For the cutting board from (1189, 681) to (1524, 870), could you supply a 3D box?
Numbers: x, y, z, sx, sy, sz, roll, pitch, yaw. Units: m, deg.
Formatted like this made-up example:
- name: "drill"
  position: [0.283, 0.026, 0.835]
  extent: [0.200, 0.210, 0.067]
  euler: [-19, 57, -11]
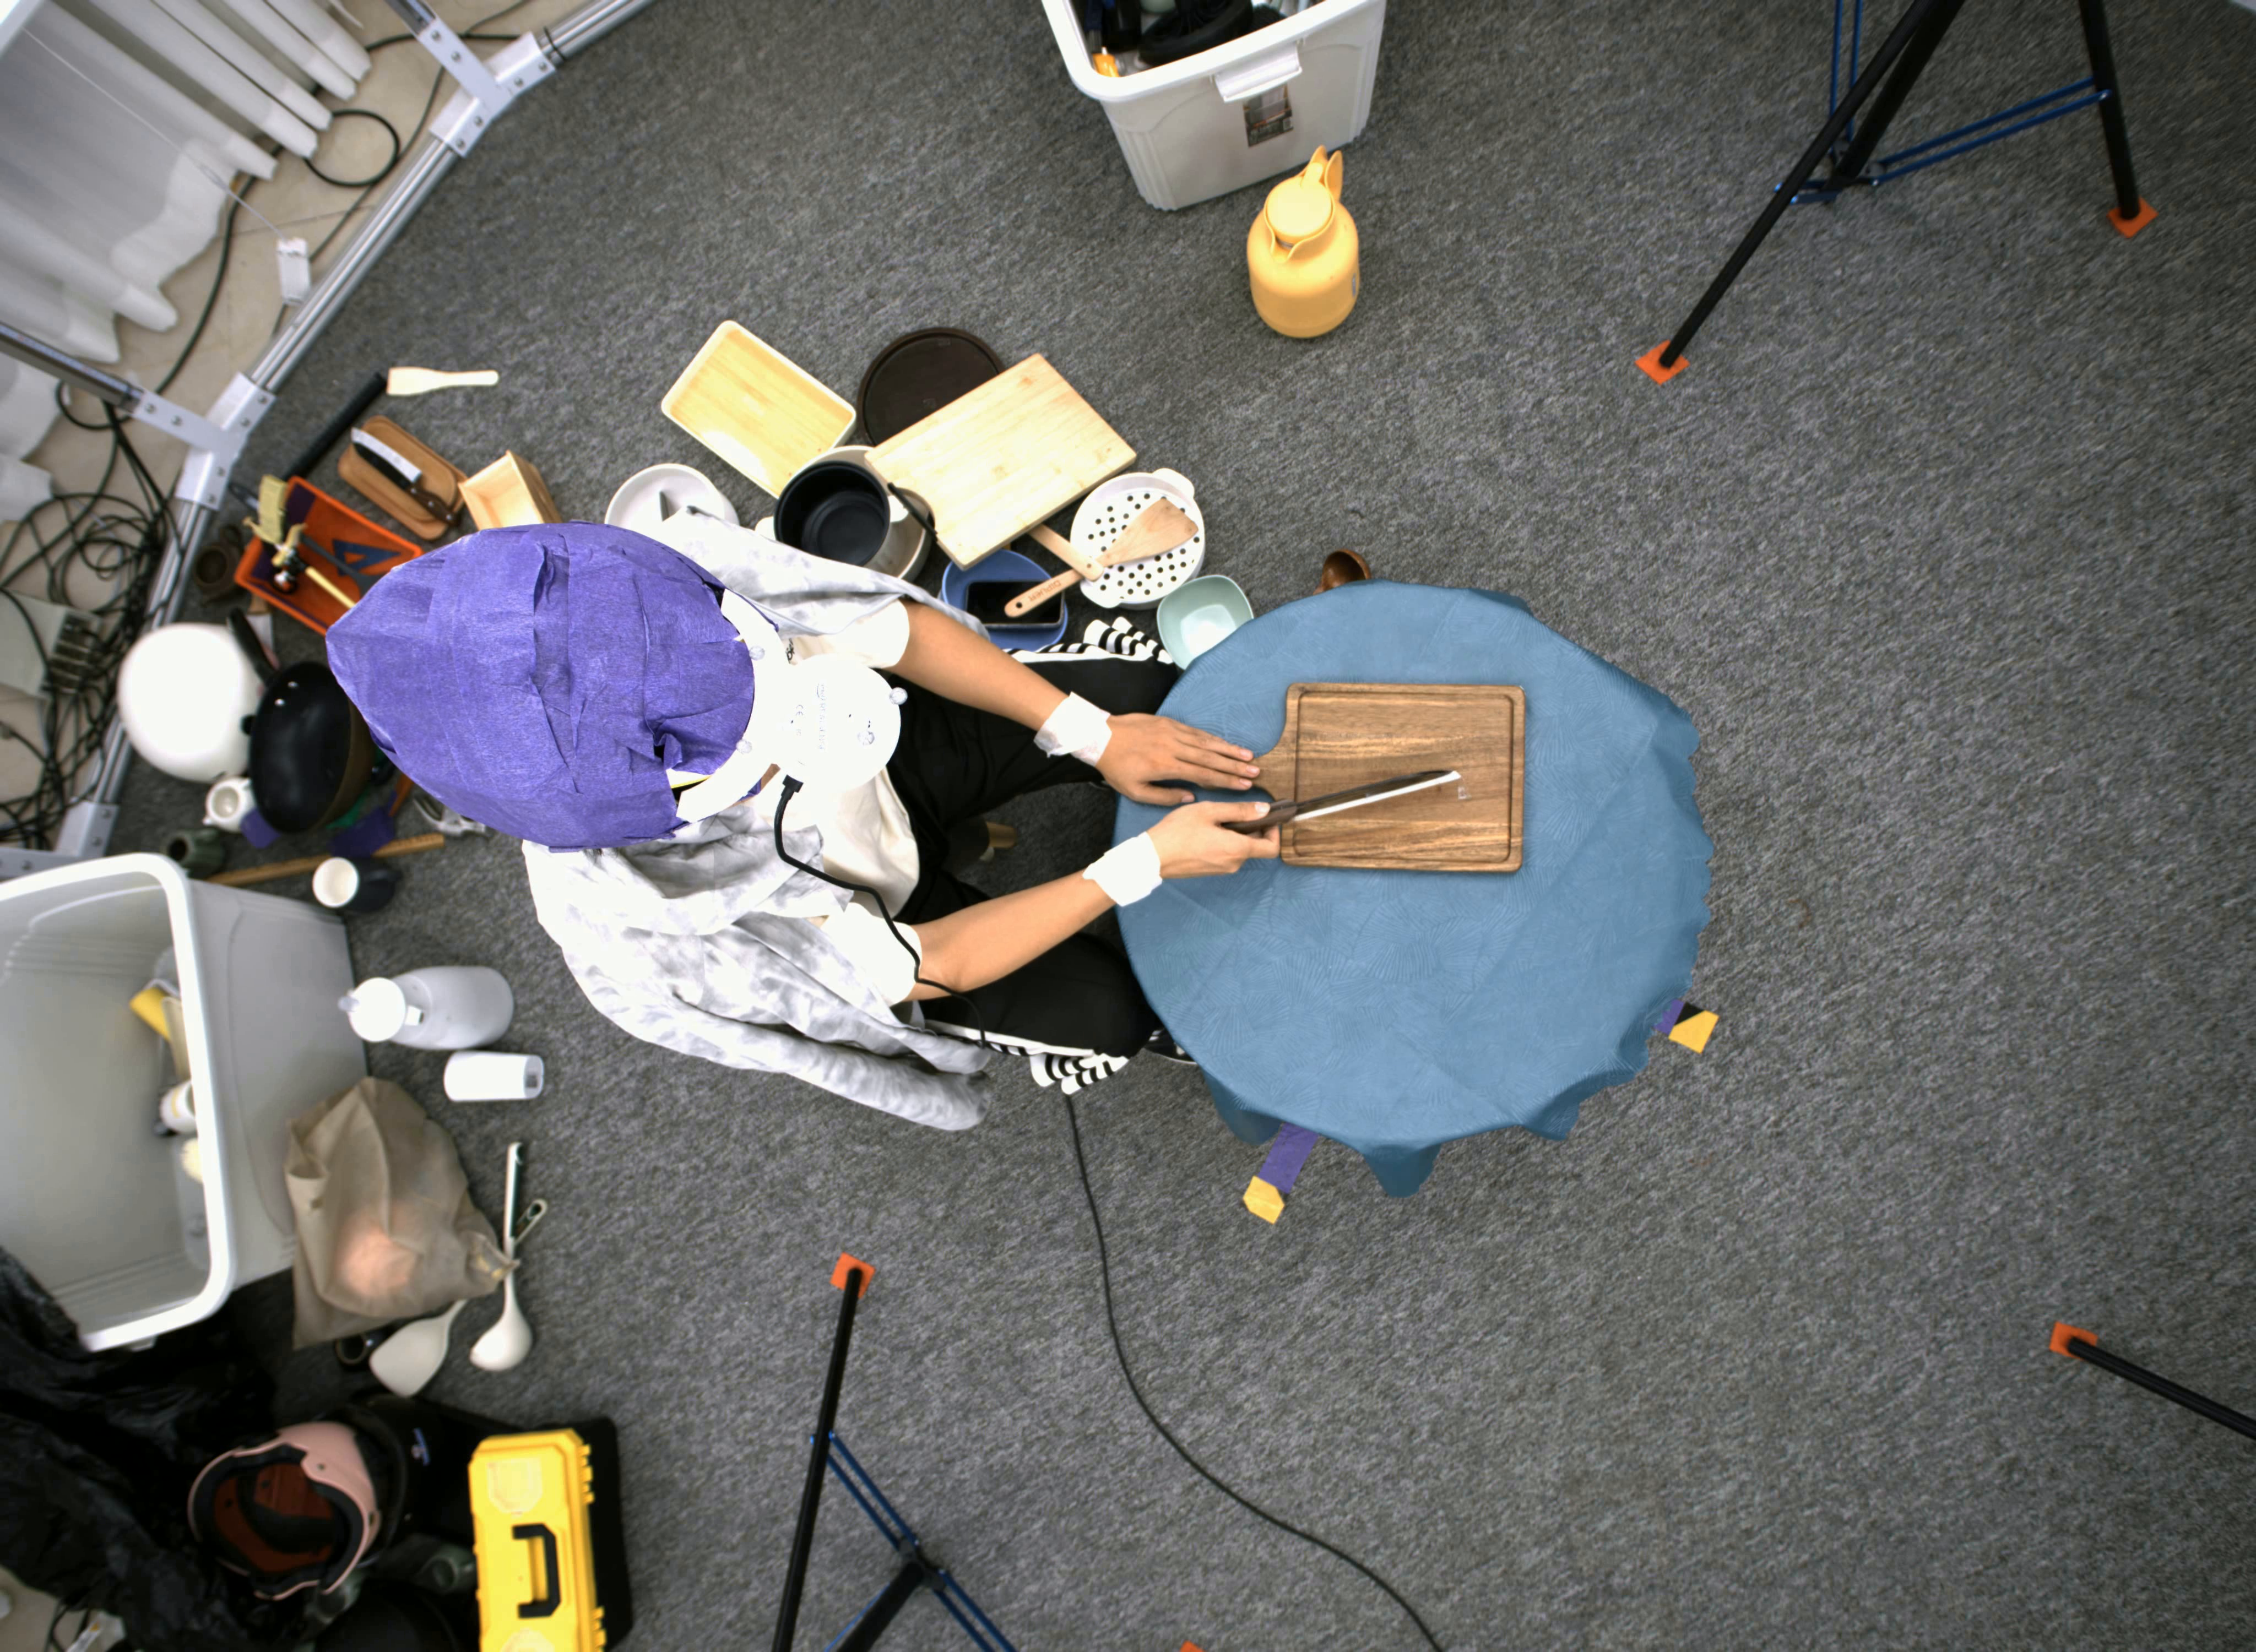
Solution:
- name: "cutting board"
  position: [0.240, -0.056, 1.463]
  extent: [0.353, 0.023, 0.200]
  euler: [1, 89, 12]

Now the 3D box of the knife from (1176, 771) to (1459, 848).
- name: "knife"
  position: [0.197, -0.020, 1.420]
  extent: [0.300, 0.069, 0.023]
  euler: [-15, 75, 4]
